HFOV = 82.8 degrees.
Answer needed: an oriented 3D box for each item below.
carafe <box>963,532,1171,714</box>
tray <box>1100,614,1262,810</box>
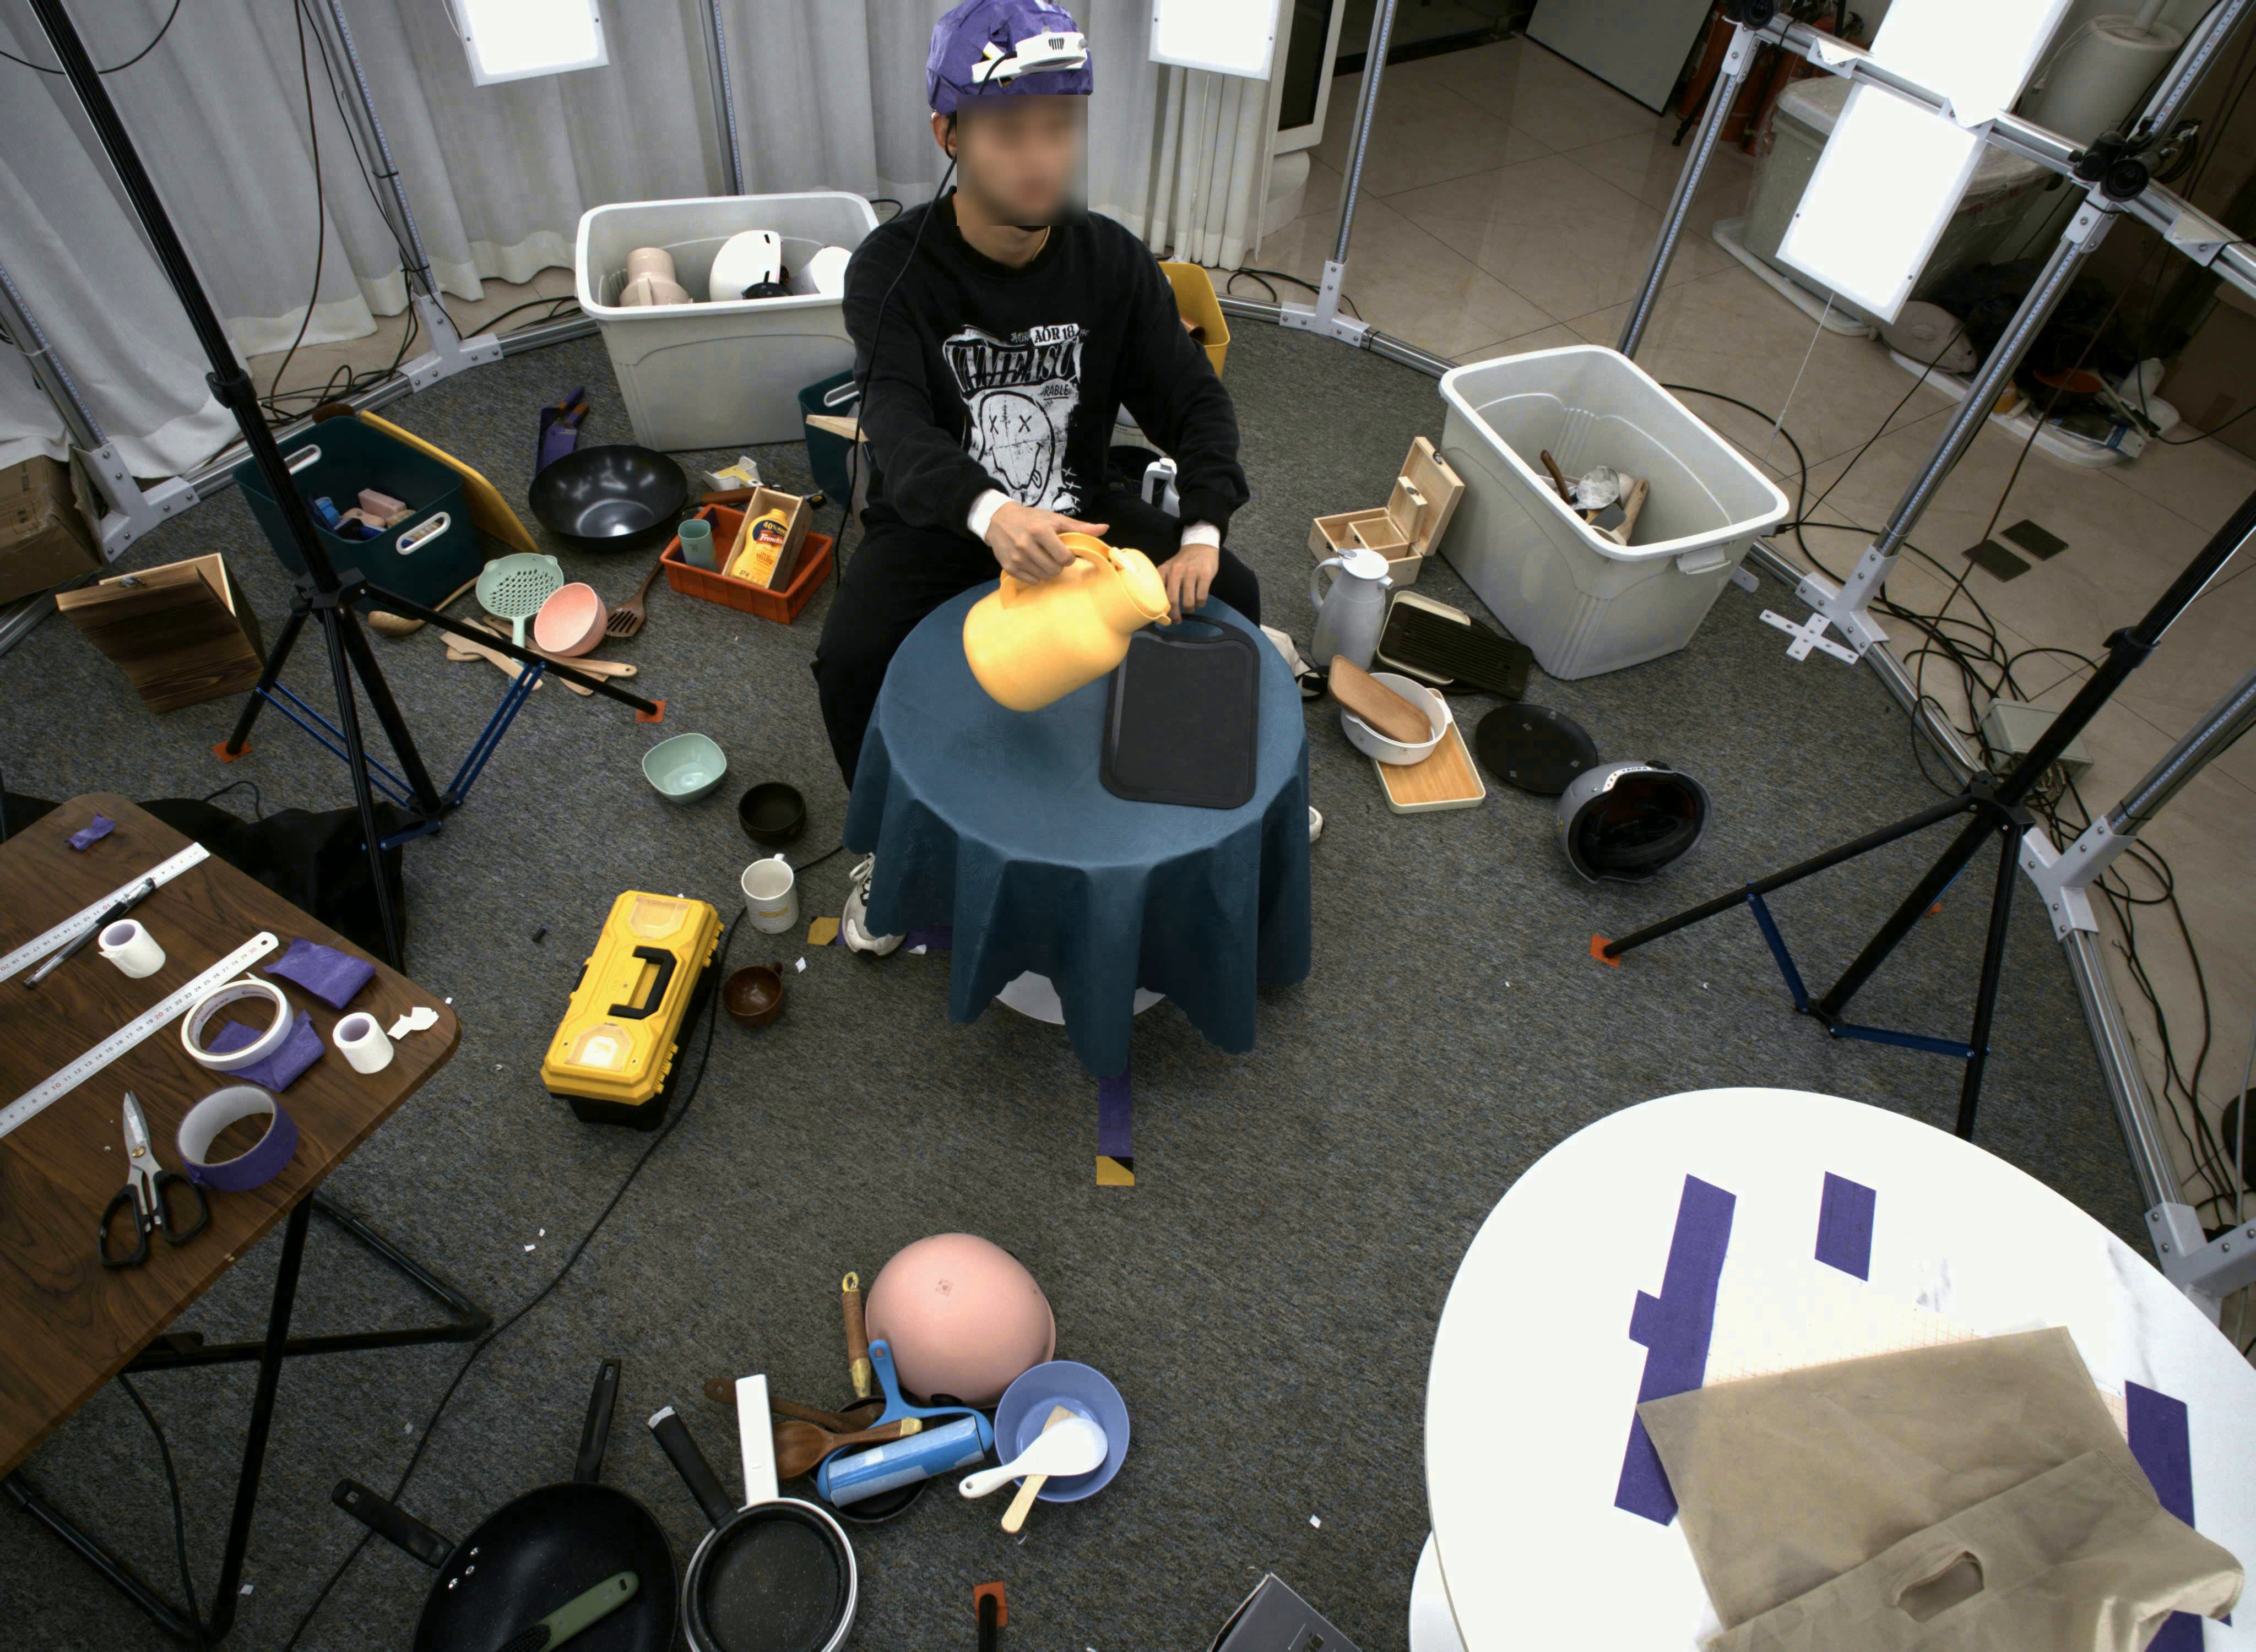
[{"bbox_3d":[-0.087,-0.269,1.632,0.259,0.198,0.167,-26,45,29],"label":"carafe"},{"bbox_3d":[0.077,-0.169,1.783,0.211,0.009,0.332,6,58,1],"label":"tray"}]
